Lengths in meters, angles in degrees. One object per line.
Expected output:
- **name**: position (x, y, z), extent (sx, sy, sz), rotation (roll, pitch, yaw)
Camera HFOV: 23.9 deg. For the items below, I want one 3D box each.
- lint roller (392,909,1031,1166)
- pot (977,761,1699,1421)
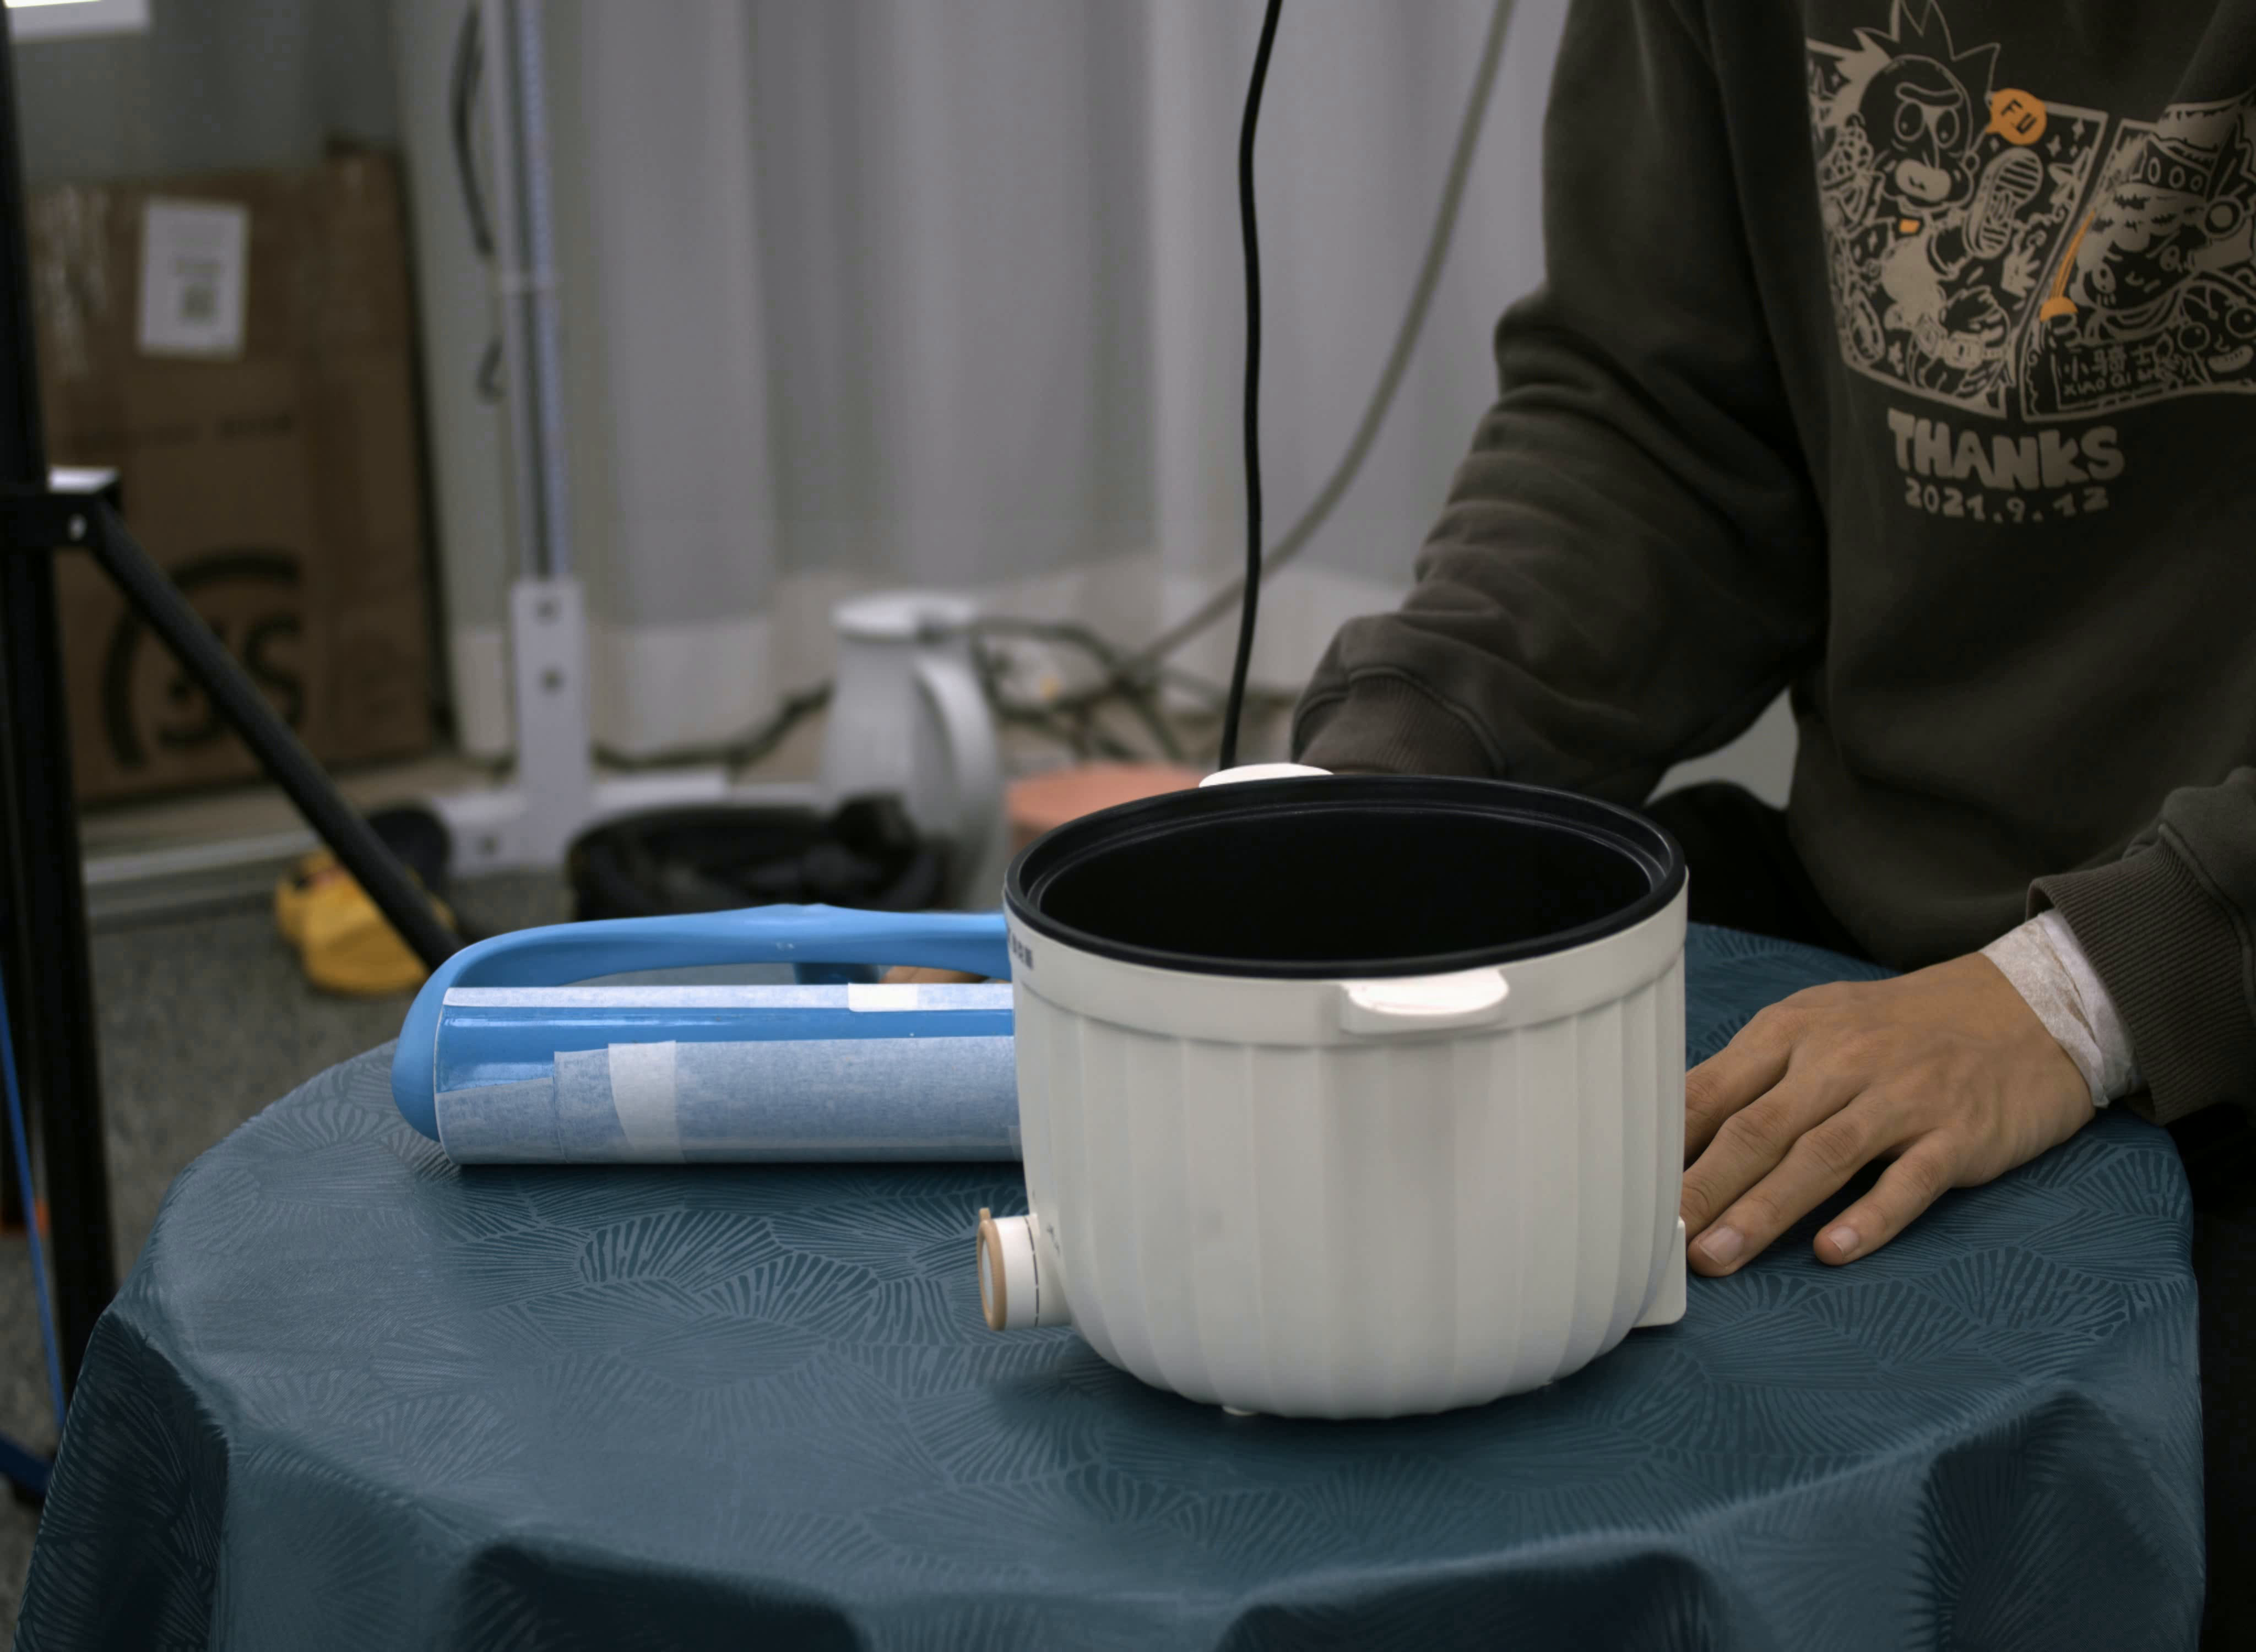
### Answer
- **lint roller**: position (-0.106, 0.056, 1.658), extent (0.229, 0.068, 0.180), rotation (-3, 17, 5)
- **pot**: position (0.055, 0.074, 1.417), extent (0.188, 0.143, 0.243), rotation (-2, 14, -10)
